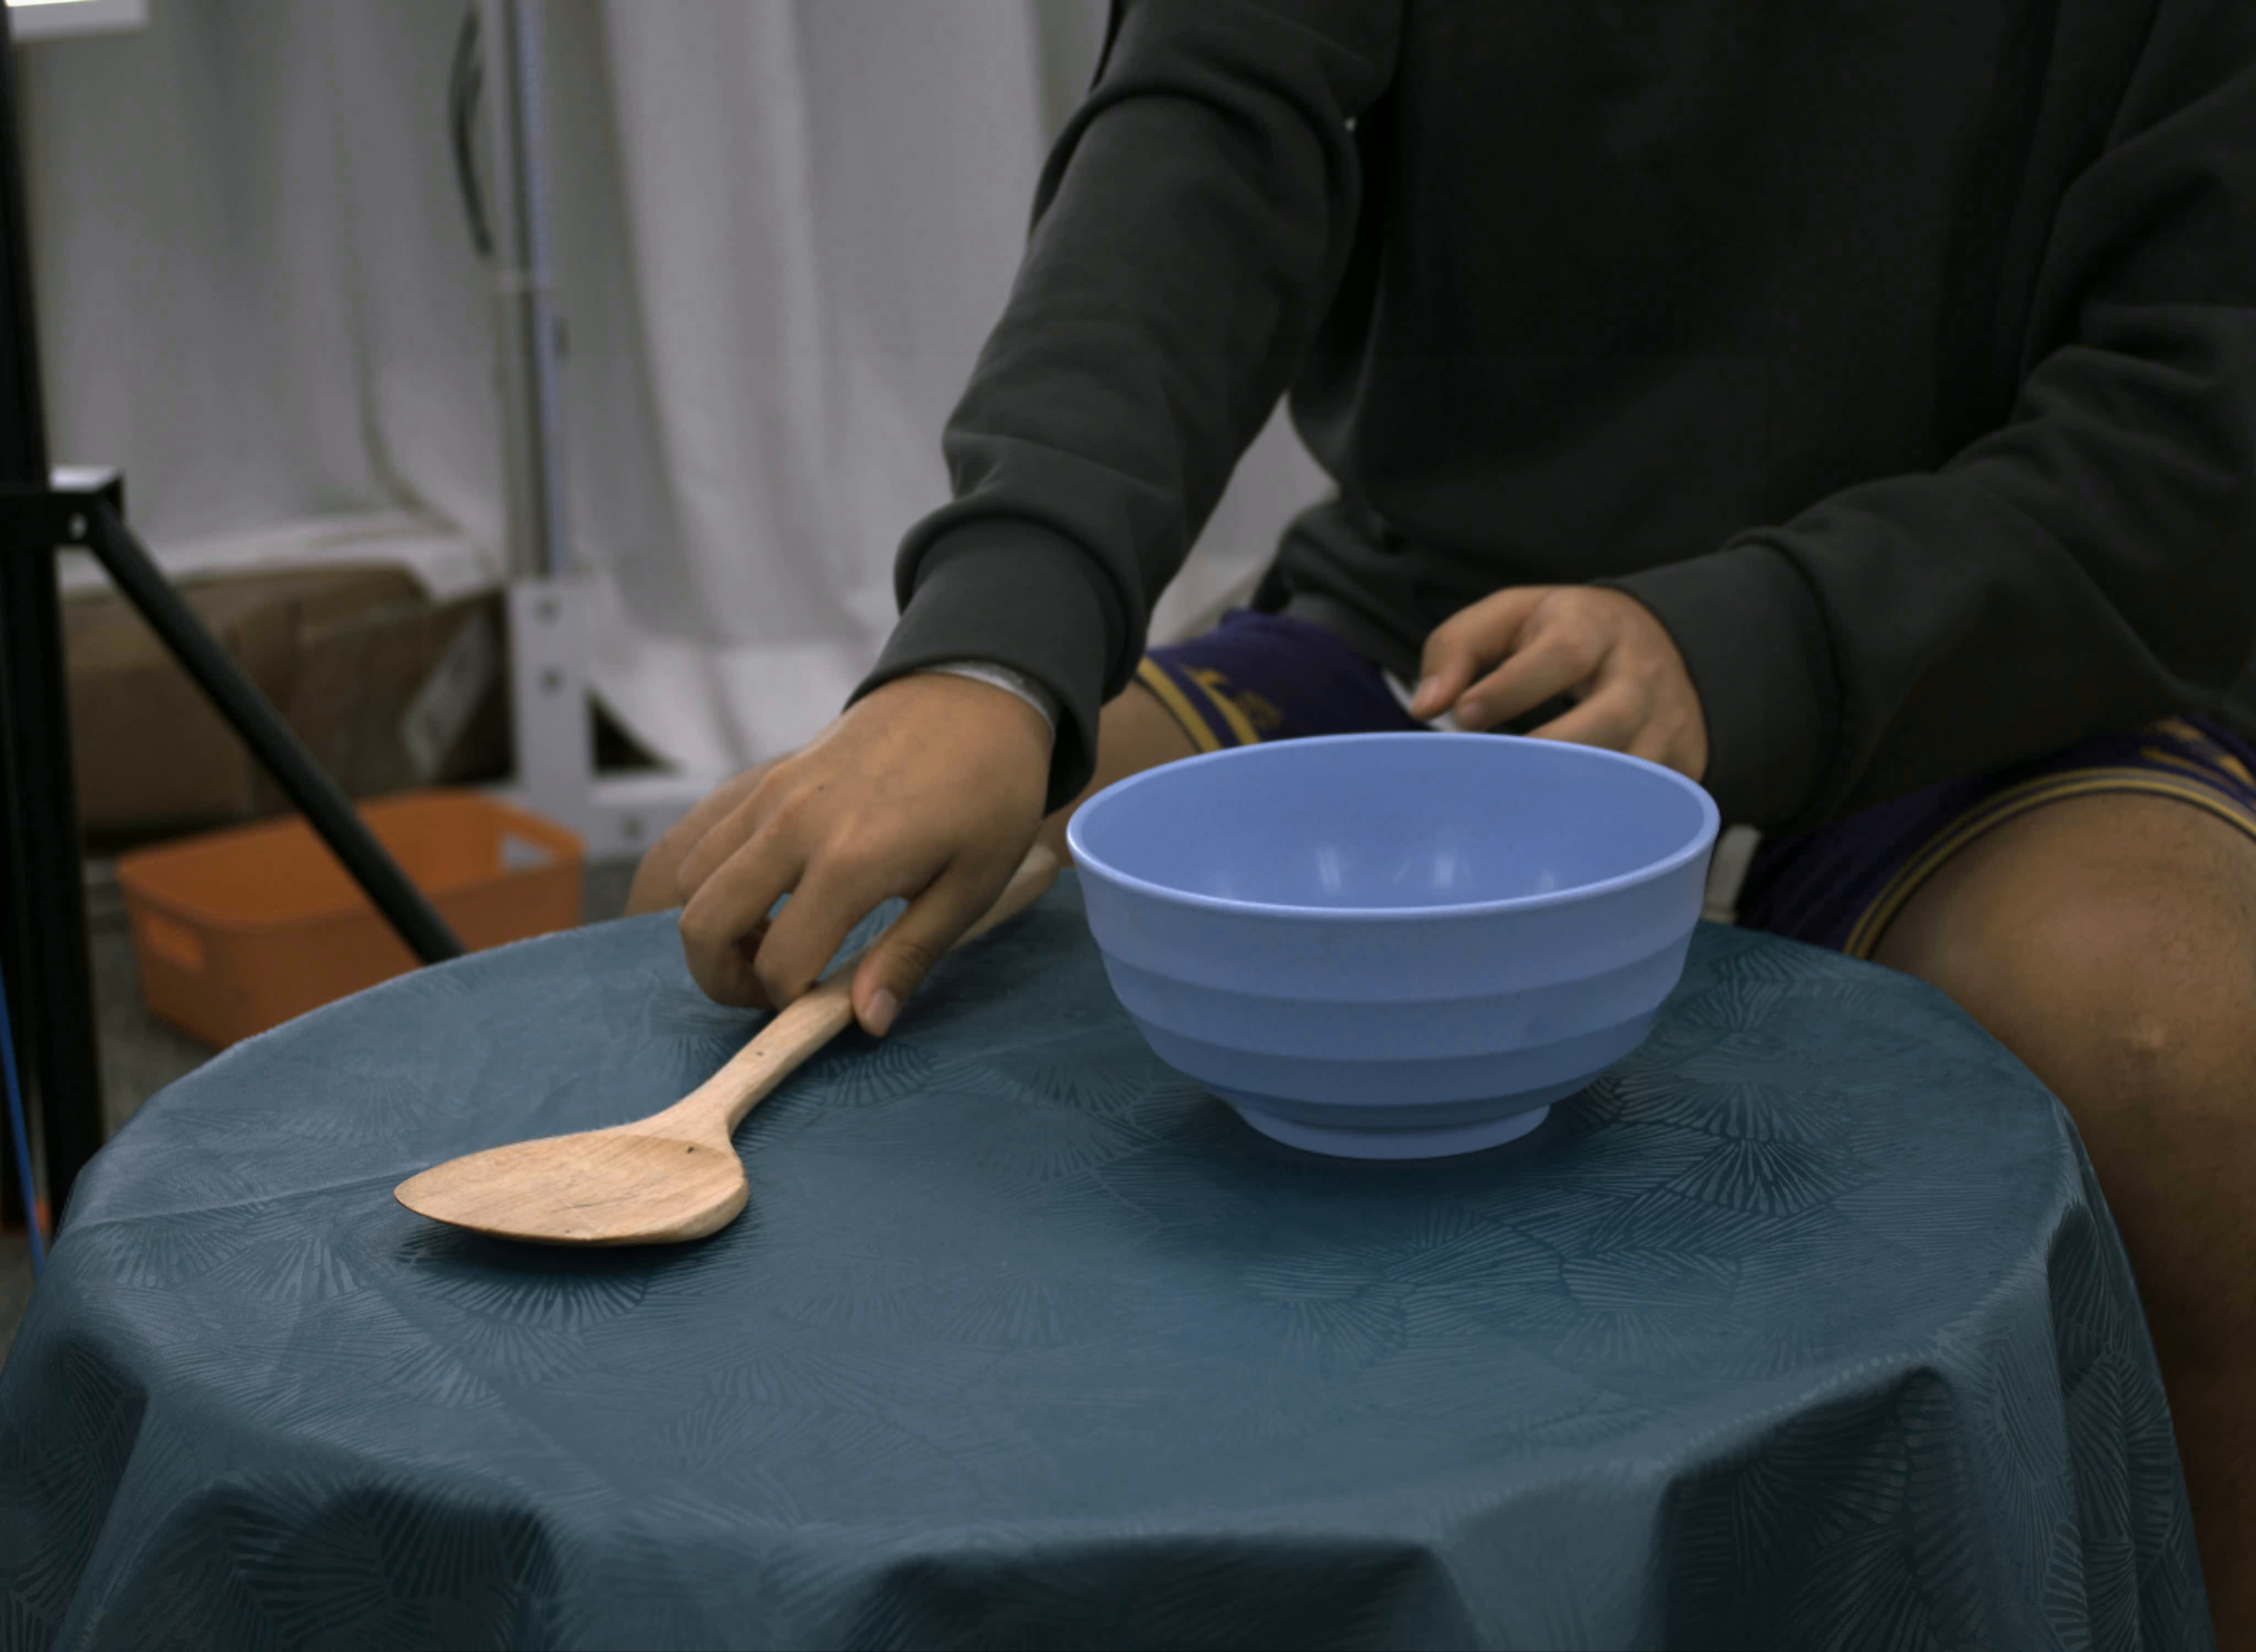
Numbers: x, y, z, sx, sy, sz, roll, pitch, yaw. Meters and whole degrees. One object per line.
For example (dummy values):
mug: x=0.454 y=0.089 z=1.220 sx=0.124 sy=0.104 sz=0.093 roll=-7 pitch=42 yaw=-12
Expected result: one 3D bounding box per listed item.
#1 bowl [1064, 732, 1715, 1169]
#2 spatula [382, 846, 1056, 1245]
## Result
bowl: x=0.082 y=0.044 z=1.608 sx=0.195 sy=0.095 sz=0.197 roll=-5 pitch=17 yaw=0
spatula: x=-0.108 y=0.063 z=1.689 sx=0.097 sy=0.018 sz=0.386 roll=8 pitch=21 yaw=20
